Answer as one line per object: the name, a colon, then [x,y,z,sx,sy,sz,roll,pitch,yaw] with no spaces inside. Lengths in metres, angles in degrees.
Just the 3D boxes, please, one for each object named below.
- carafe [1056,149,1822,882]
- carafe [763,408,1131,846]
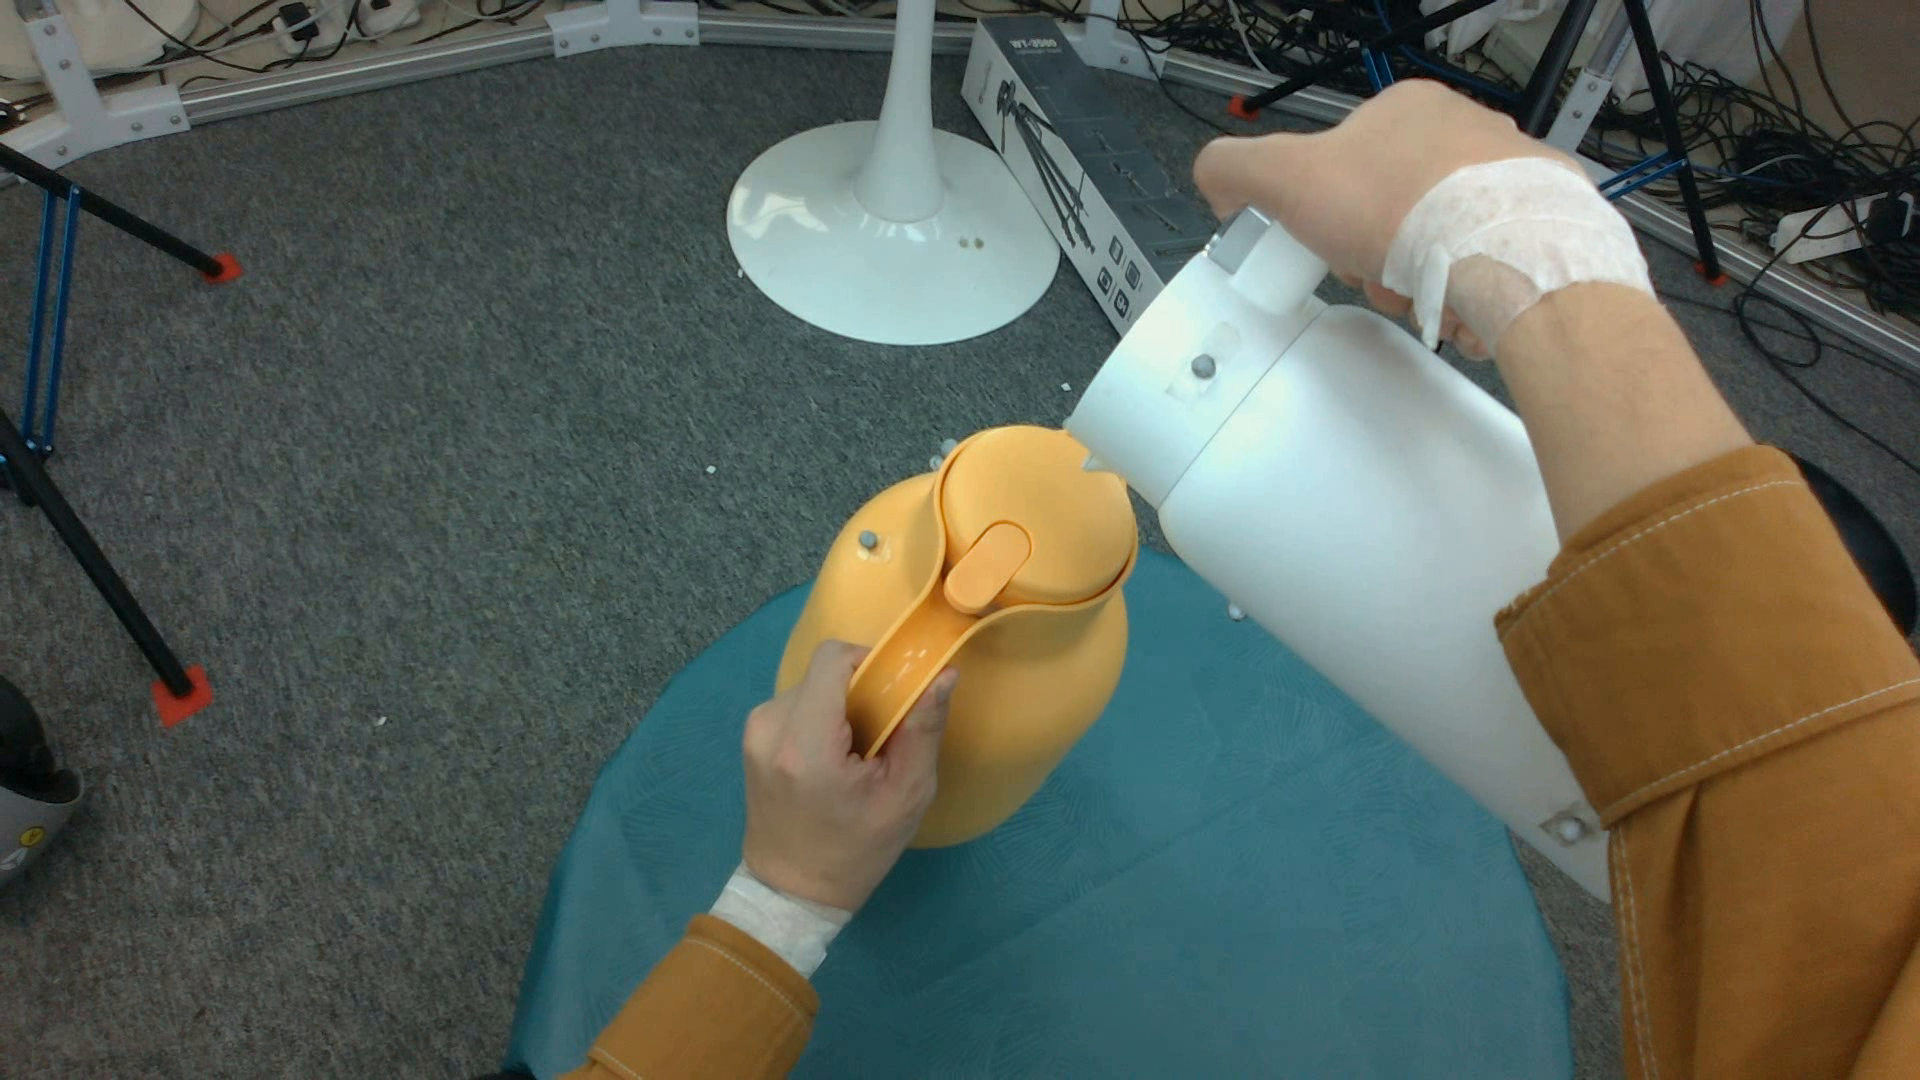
carafe: [0.177,-0.012,0.506,0.269,0.172,0.124,41,41,9]
carafe: [-0.015,0.052,0.692,0.163,0.259,0.203,40,53,10]
